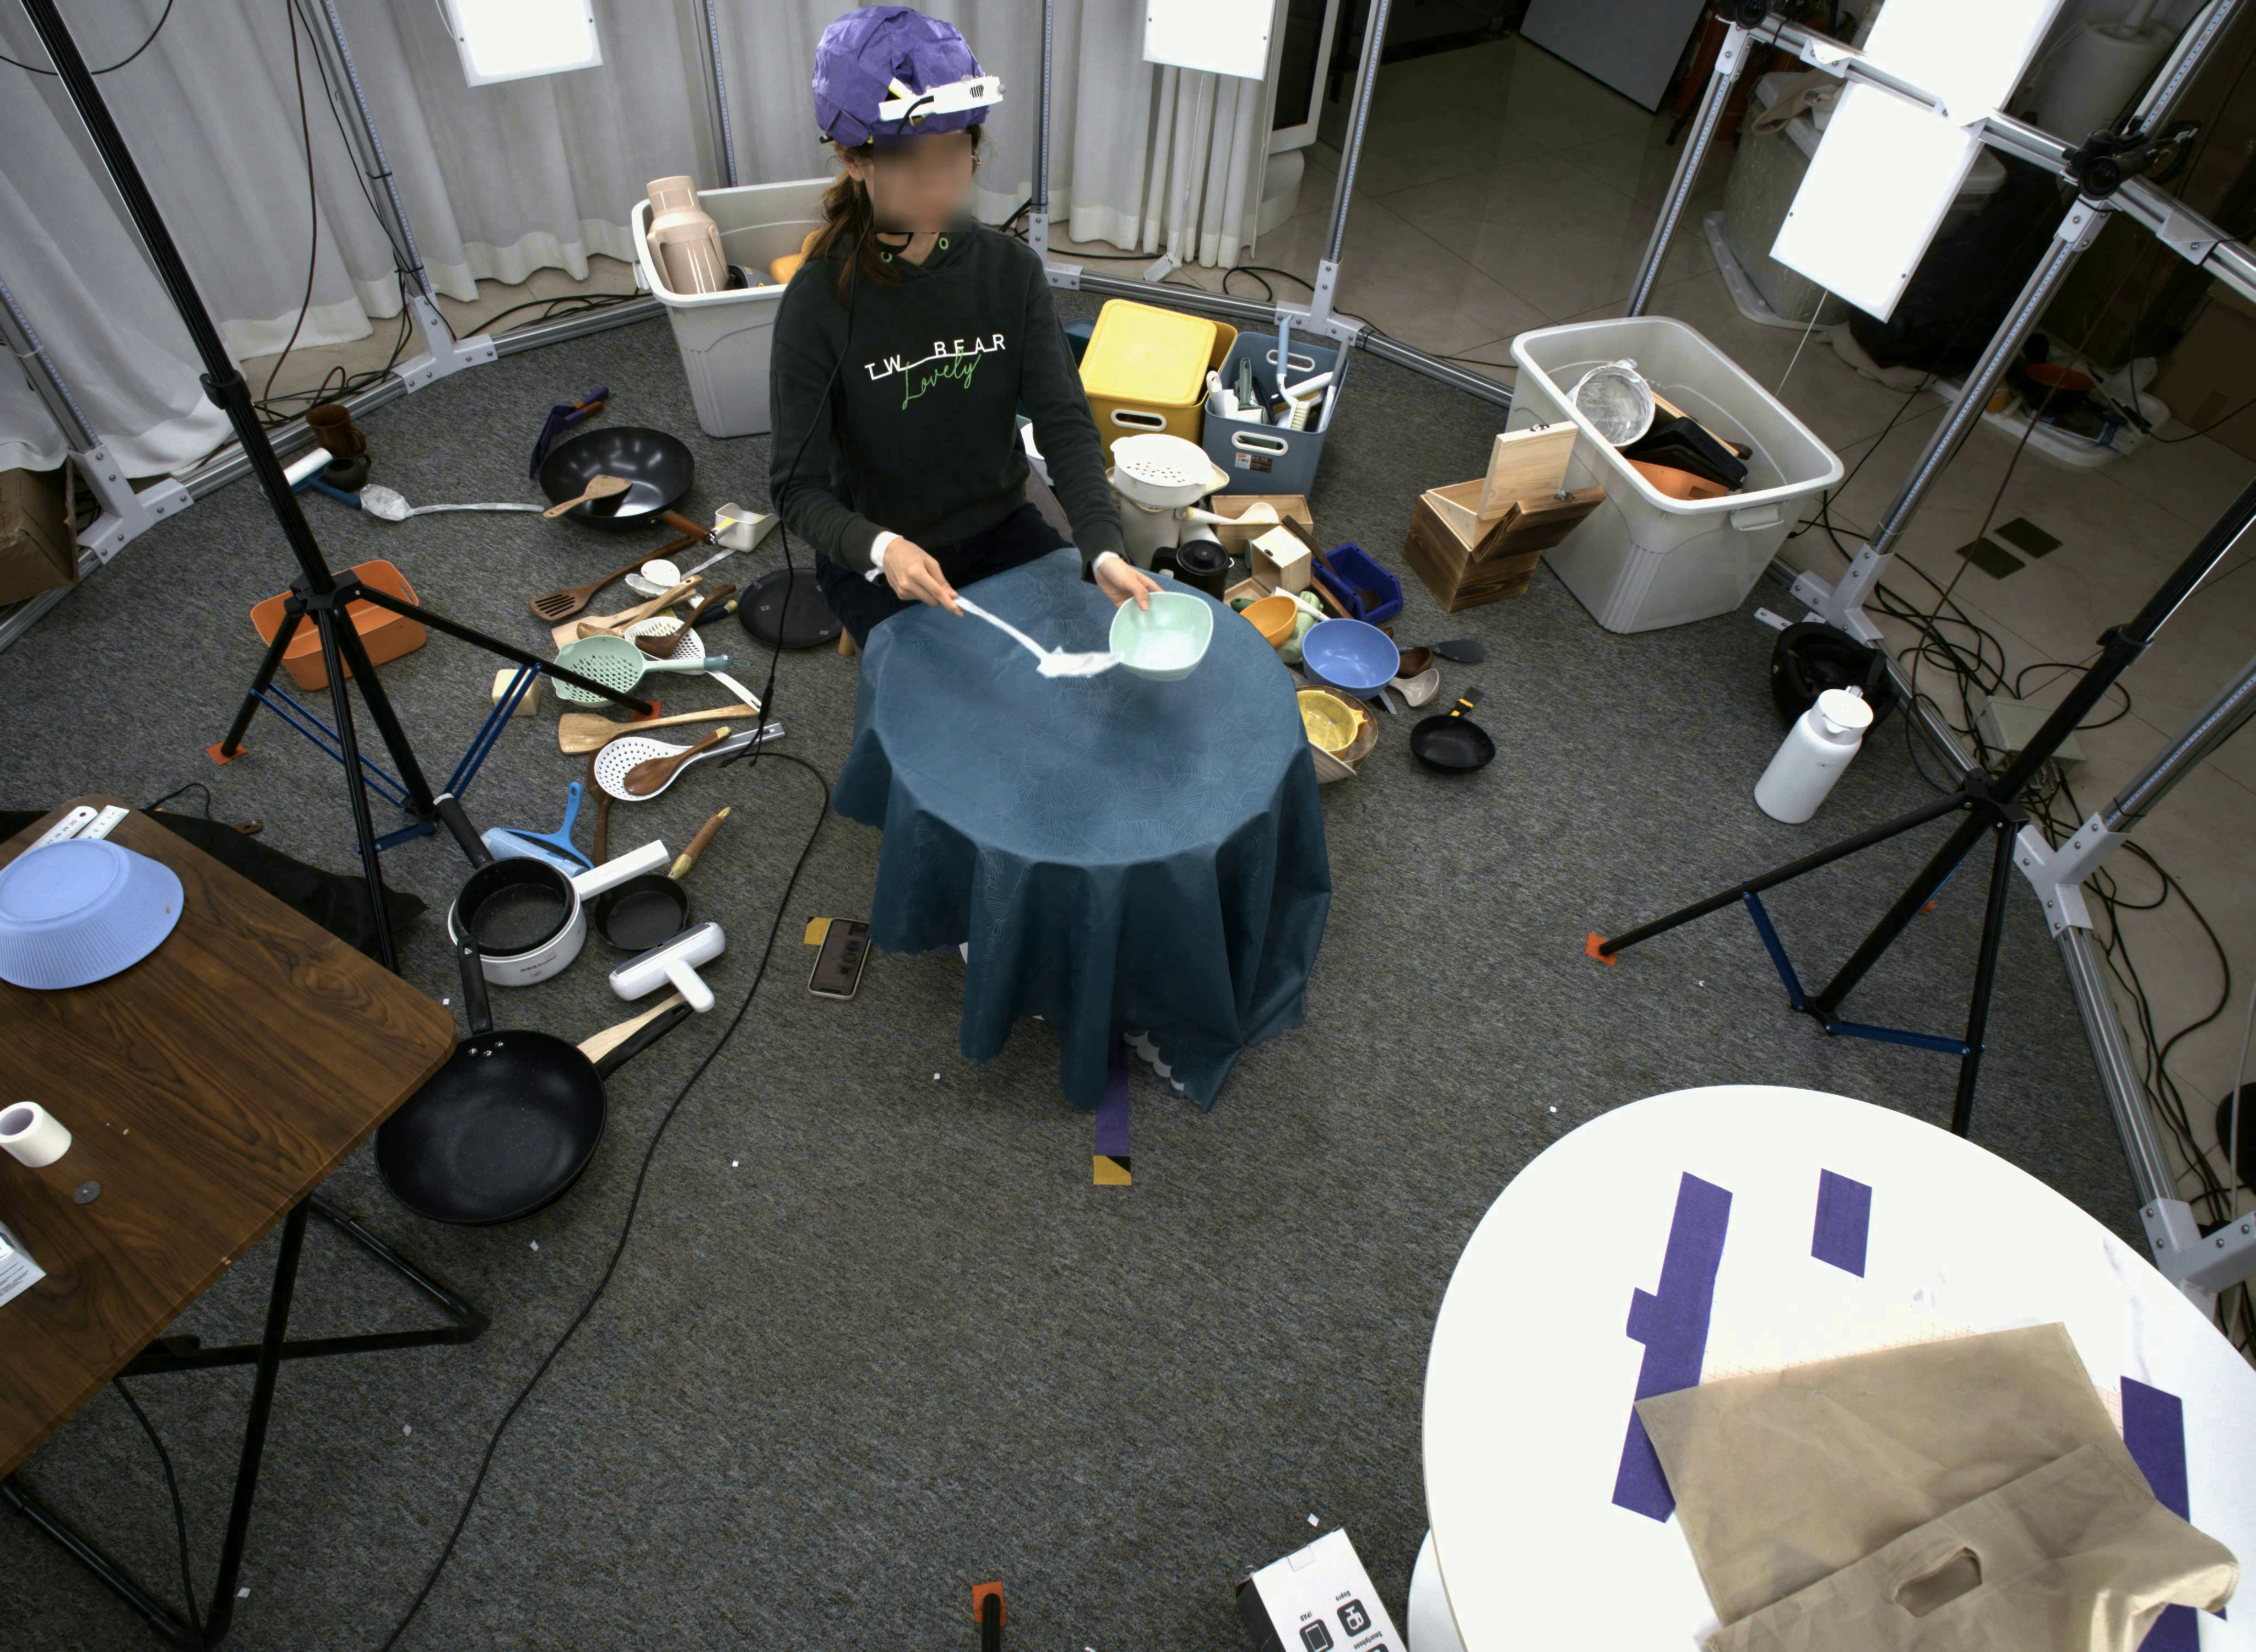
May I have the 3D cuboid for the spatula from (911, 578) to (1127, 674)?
[{"bbox_3d":[-0.164,-0.274,1.713,0.369,0.044,0.099,31,40,26],"label":"spatula"}]

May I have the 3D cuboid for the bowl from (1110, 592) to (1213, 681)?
[{"bbox_3d":[0.048,-0.251,1.768,0.151,0.057,0.155,-4,56,5],"label":"bowl"}]
